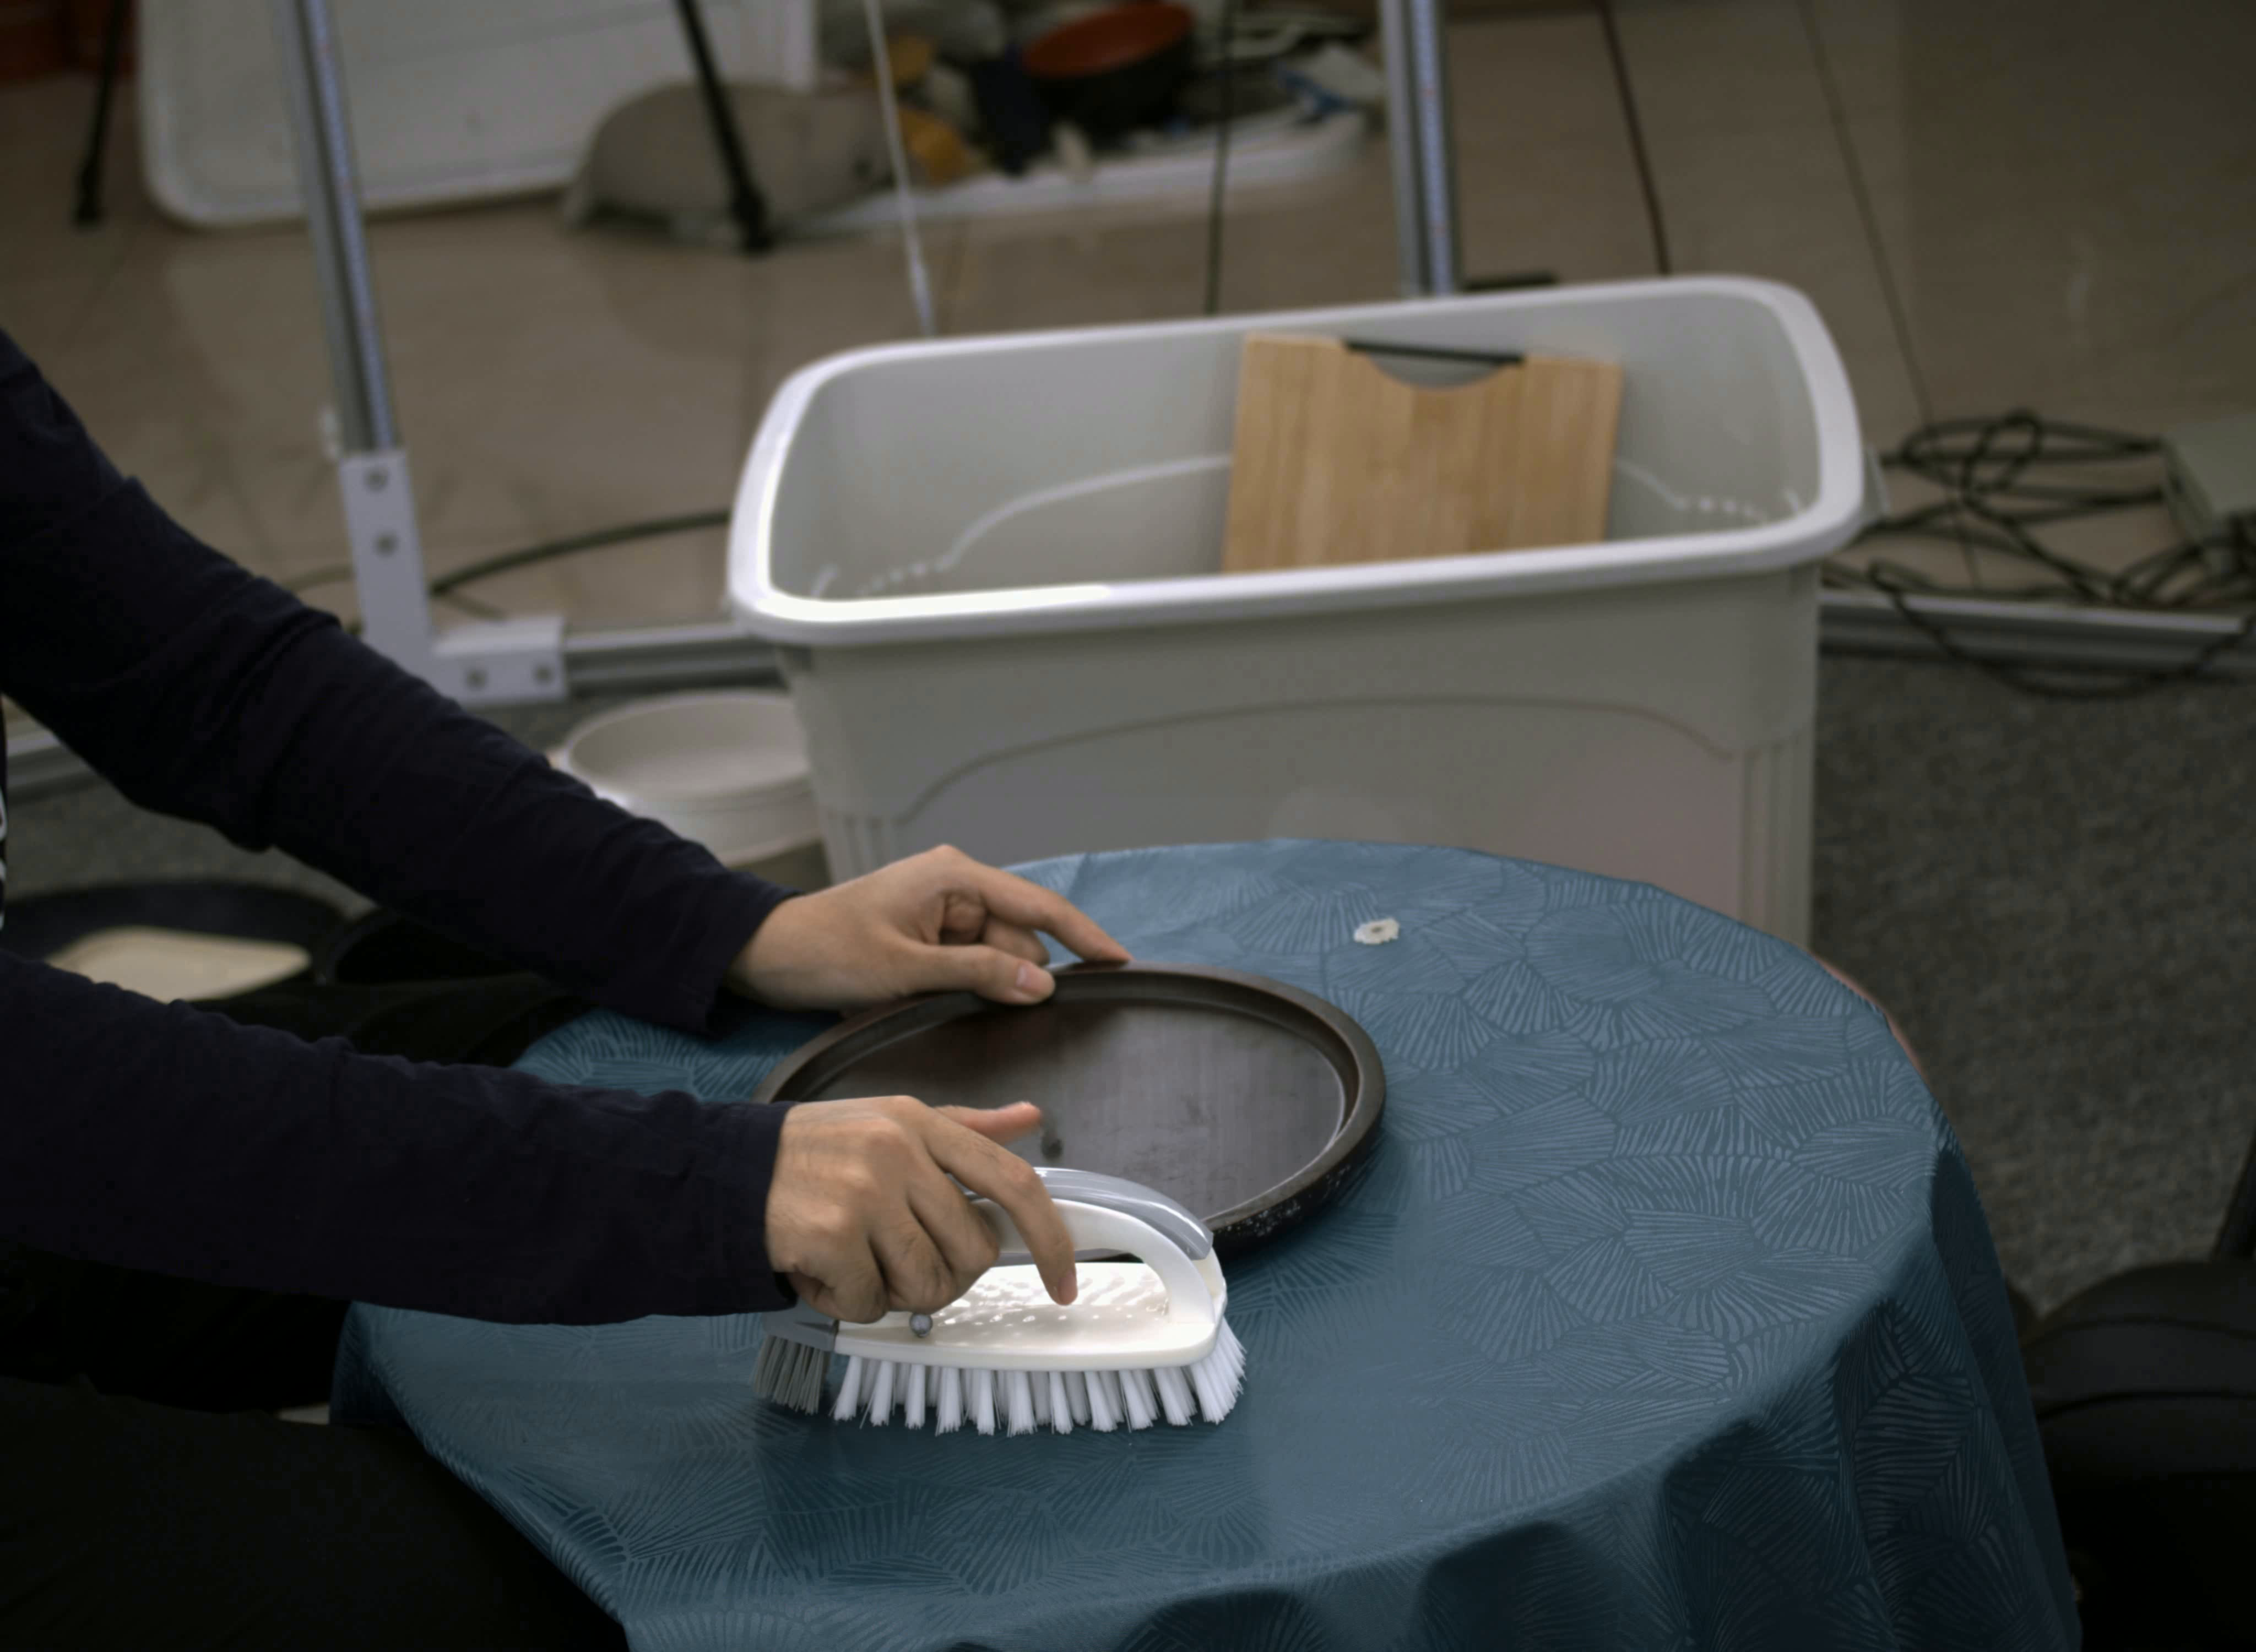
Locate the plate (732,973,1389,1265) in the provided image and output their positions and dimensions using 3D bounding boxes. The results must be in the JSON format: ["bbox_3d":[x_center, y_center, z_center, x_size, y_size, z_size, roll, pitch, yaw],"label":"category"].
[{"bbox_3d":[-0.026,0.117,2.175,0.254,0.029,0.251,-4,25,2],"label":"plate"}]

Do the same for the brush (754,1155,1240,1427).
[{"bbox_3d":[-0.052,0.163,1.997,0.175,0.095,0.060,-4,23,10],"label":"brush"}]
